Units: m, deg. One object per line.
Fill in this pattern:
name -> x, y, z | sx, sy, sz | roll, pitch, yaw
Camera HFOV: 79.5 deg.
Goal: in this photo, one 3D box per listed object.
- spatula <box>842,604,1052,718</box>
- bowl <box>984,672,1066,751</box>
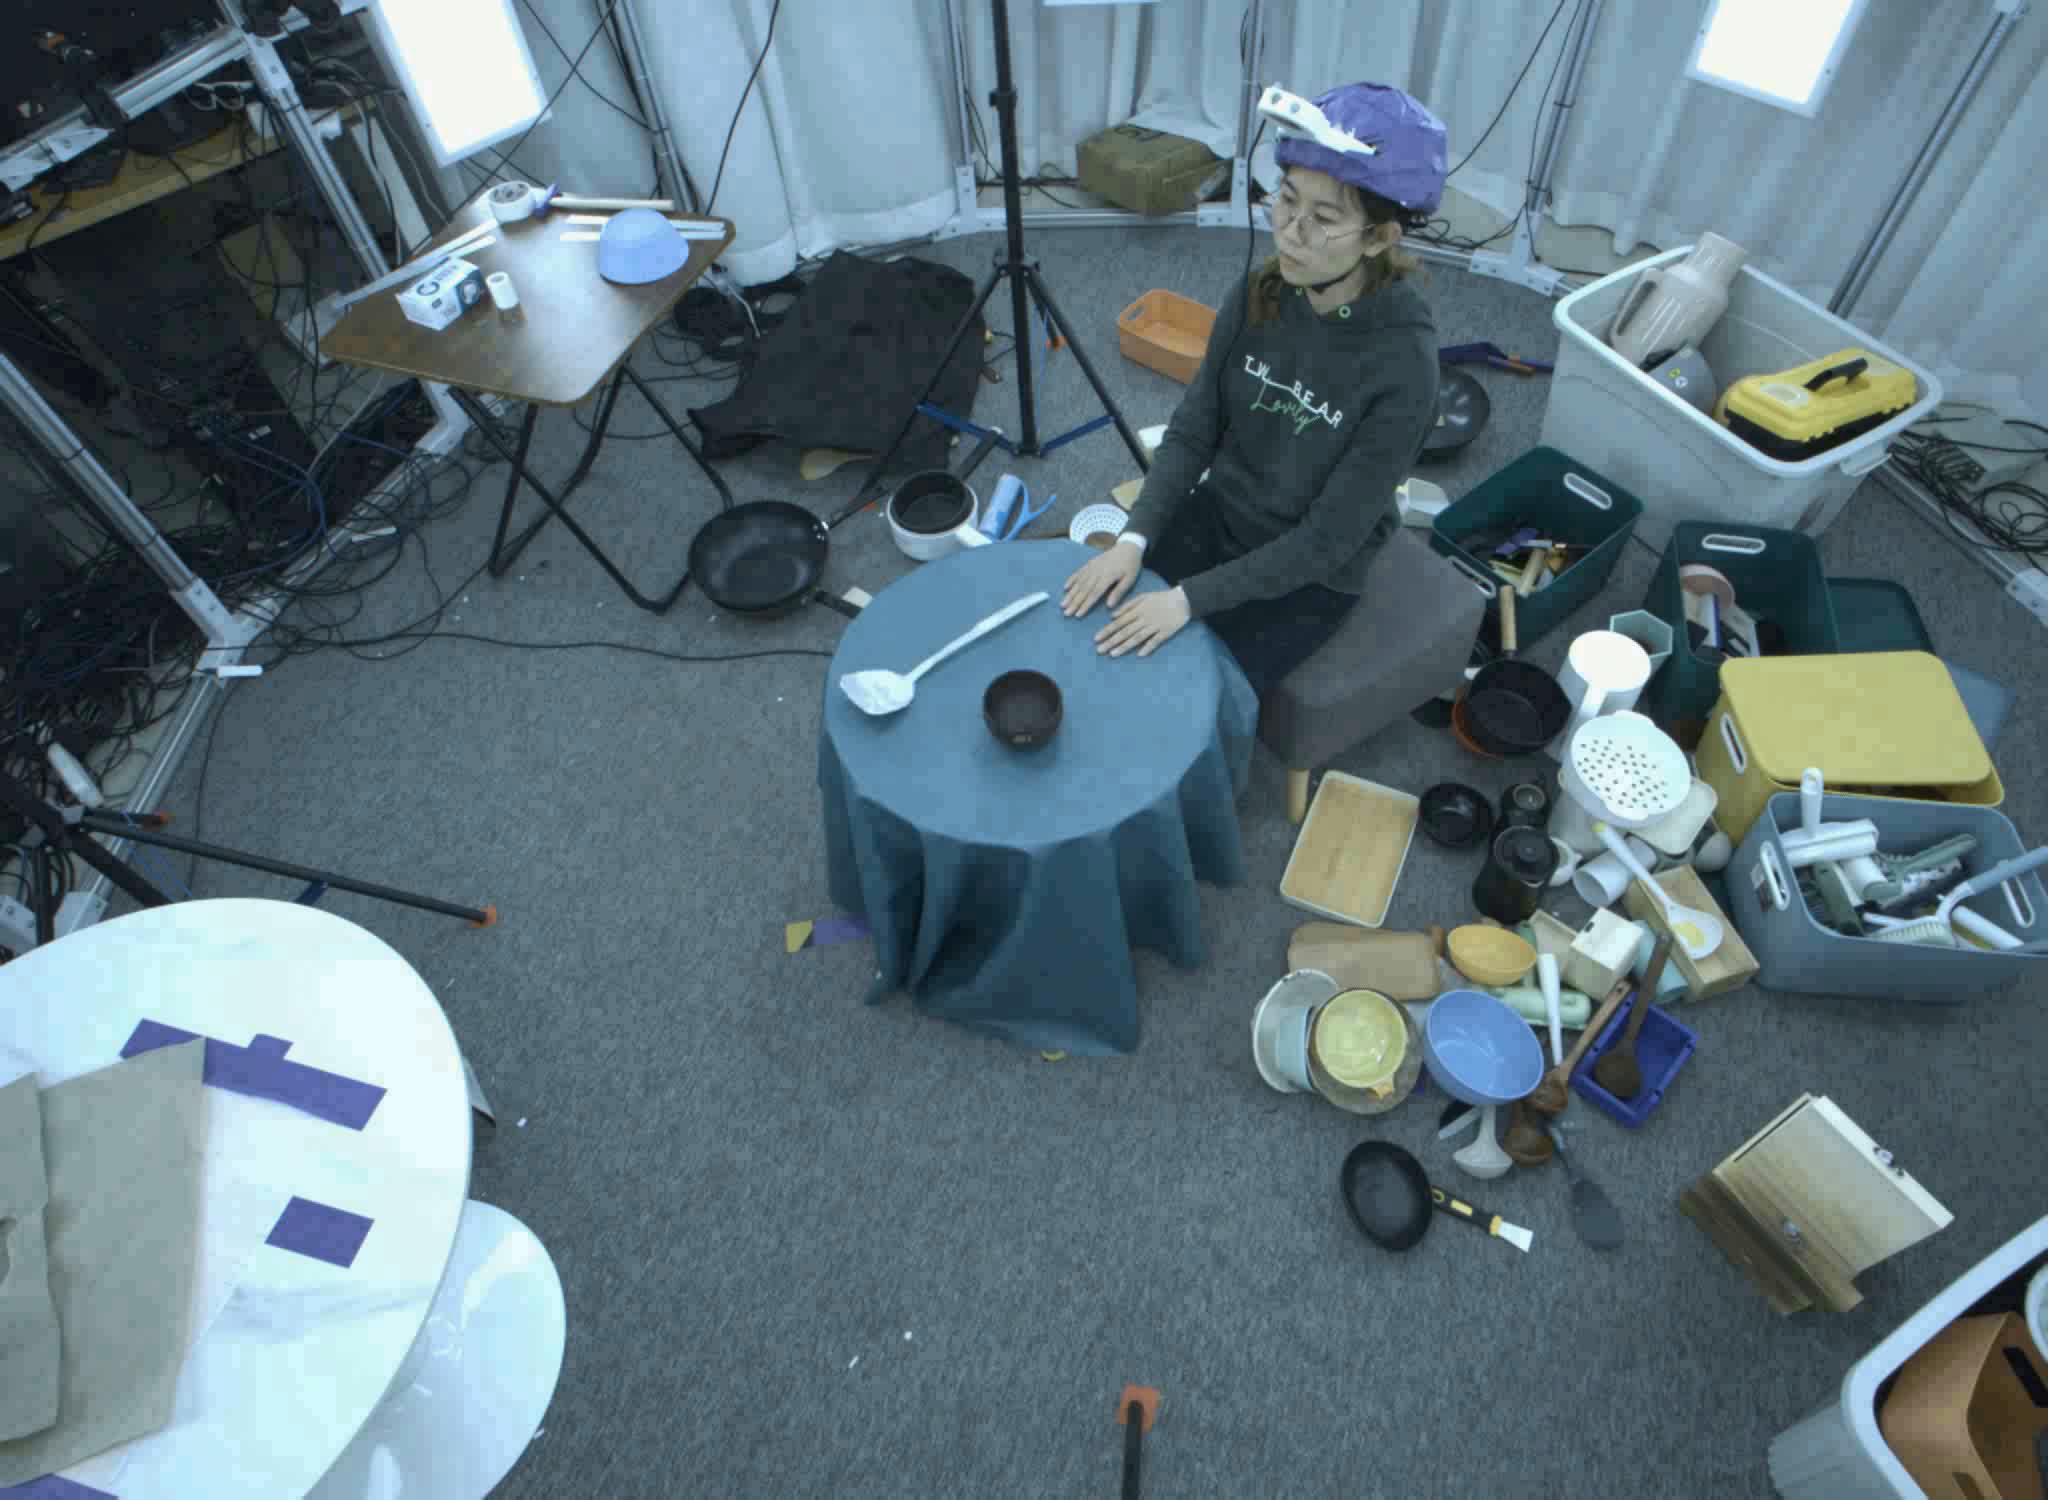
spatula -> -0.109, -0.152, 1.884 | 0.368, 0.045, 0.097 | -33, 58, -20
bowl -> 0.002, -0.048, 1.788 | 0.118, 0.070, 0.117 | 0, 56, 1
